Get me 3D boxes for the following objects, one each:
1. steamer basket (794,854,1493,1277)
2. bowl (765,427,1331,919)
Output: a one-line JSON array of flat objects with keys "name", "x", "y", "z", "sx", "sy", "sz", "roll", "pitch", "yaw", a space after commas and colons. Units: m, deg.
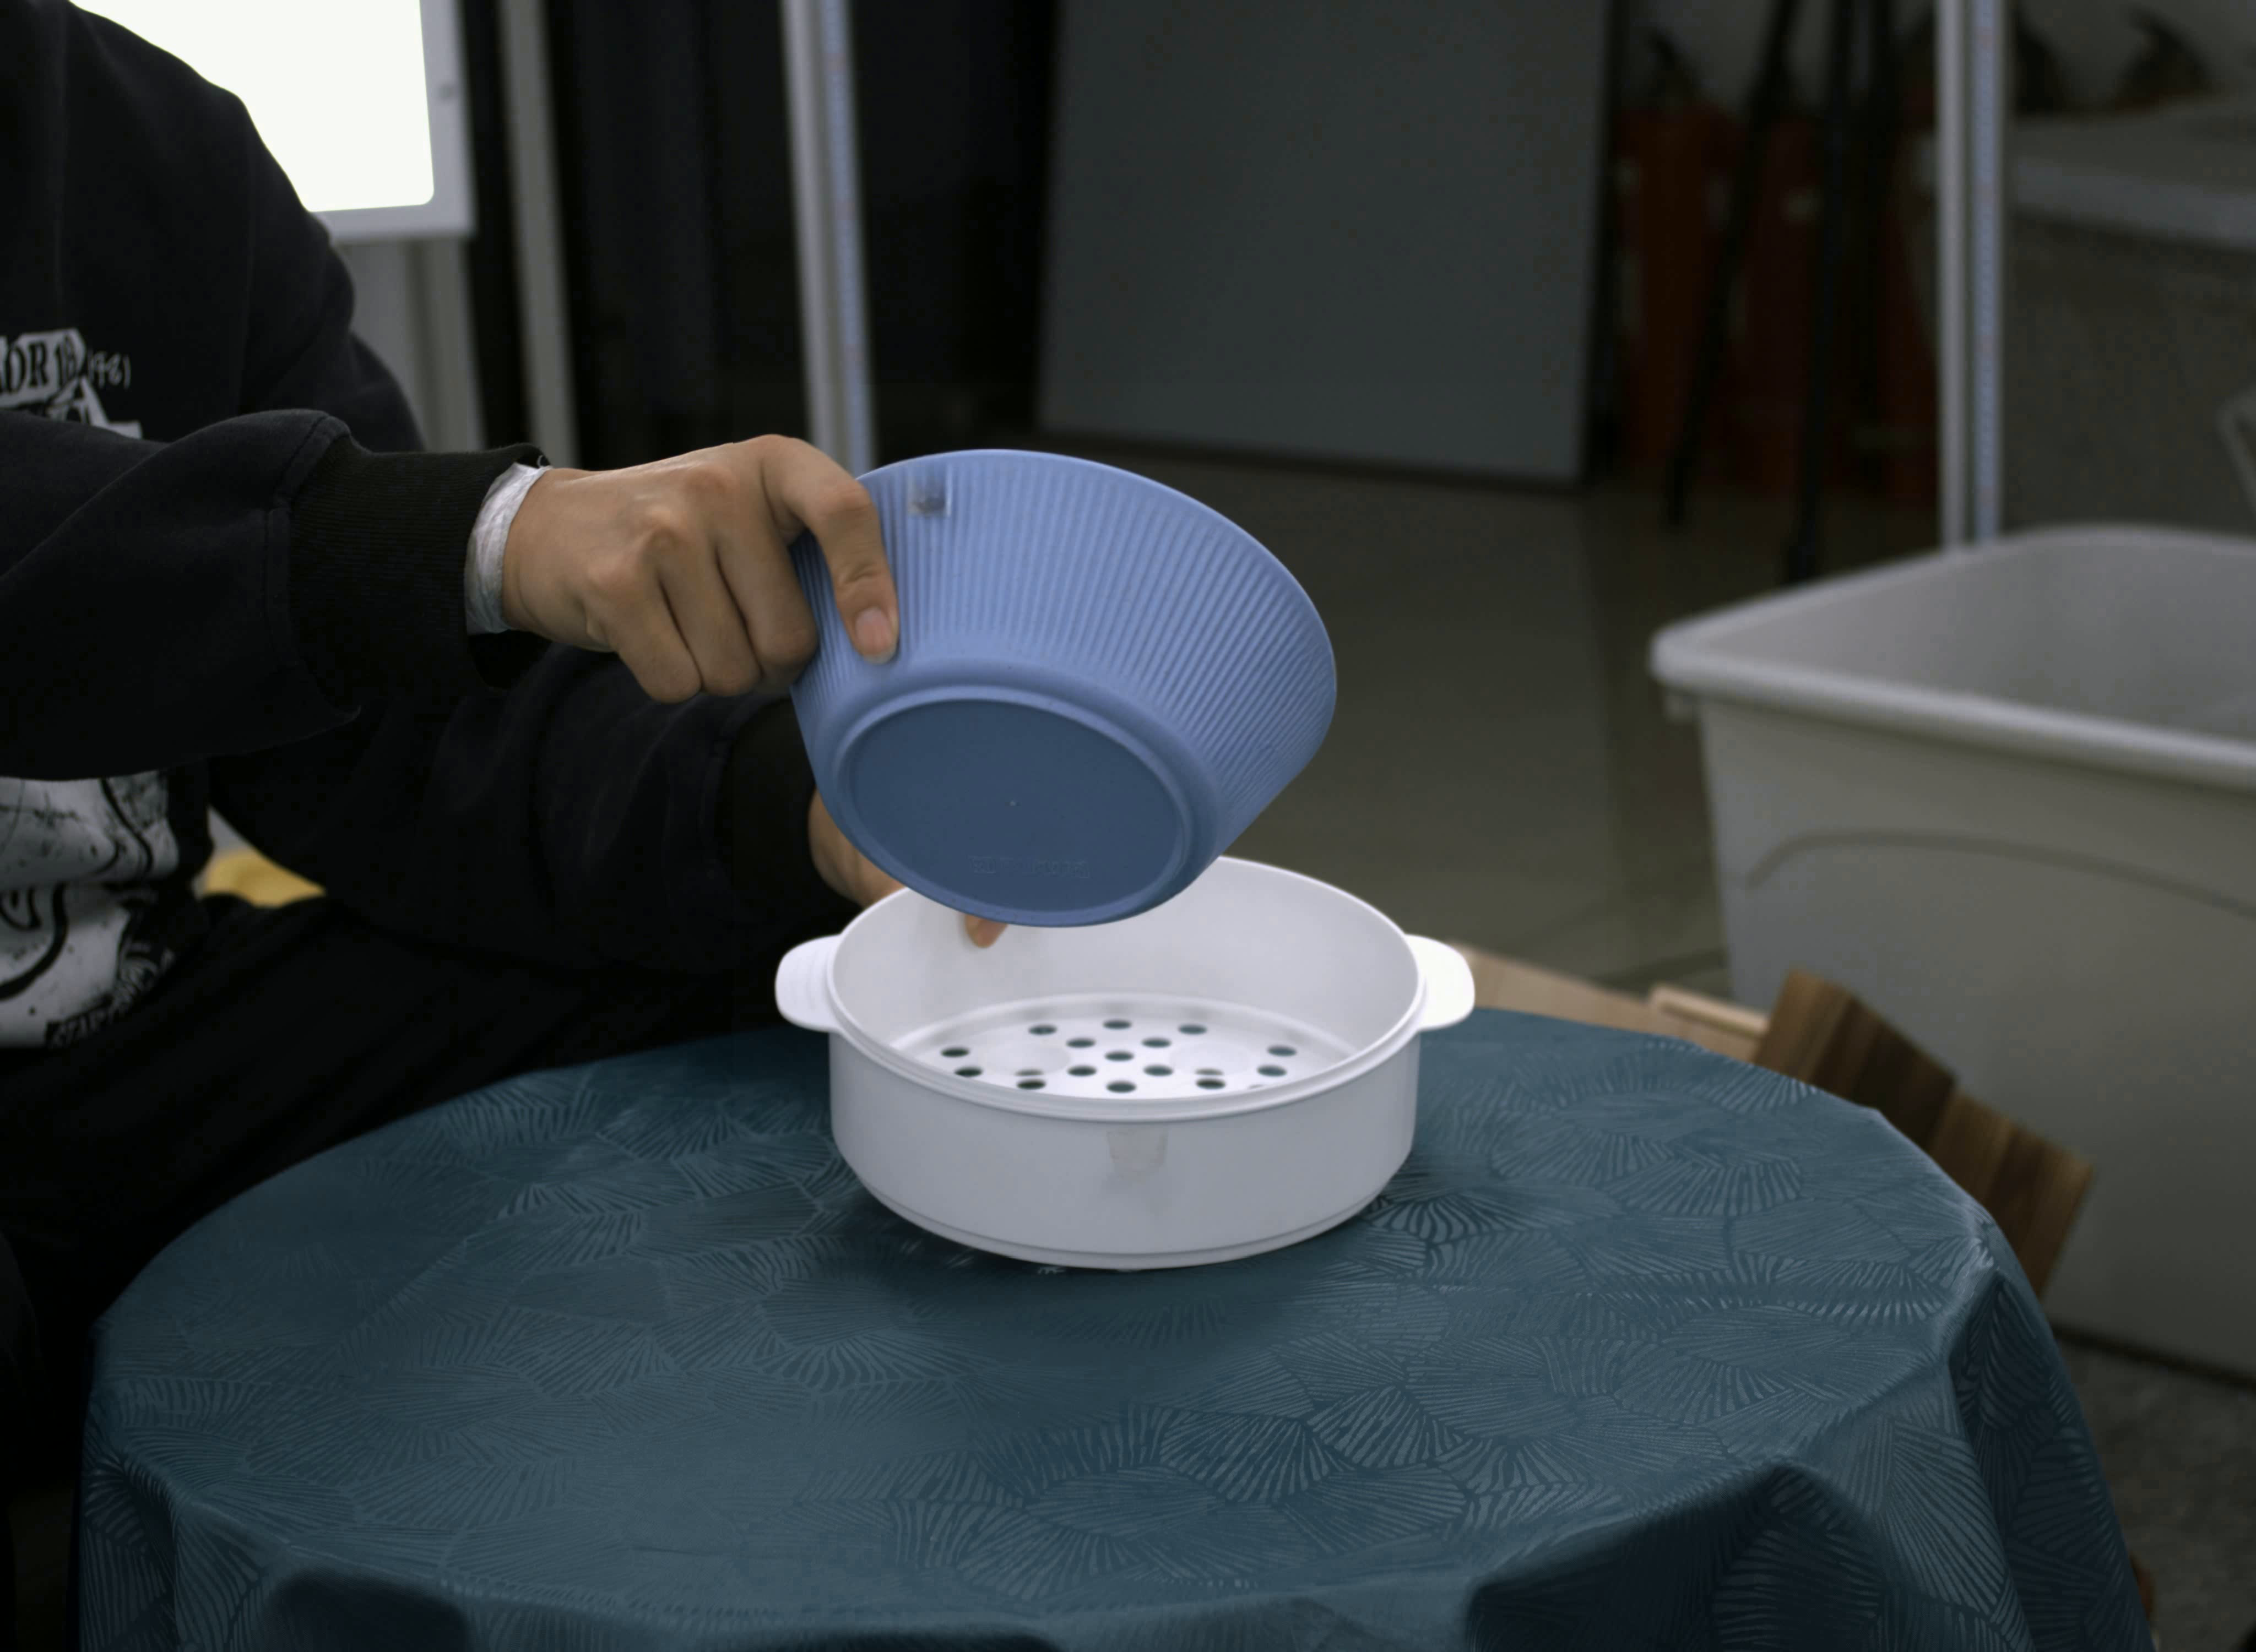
[{"name": "steamer basket", "x": 0.004, "y": 0.077, "z": 1.763, "sx": 0.227, "sy": 0.070, "sz": 0.202, "roll": 1, "pitch": 23, "yaw": -2}, {"name": "bowl", "x": -0.030, "y": -0.033, "z": 1.608, "sx": 0.175, "sy": 0.176, "sz": 0.070, "roll": 1, "pitch": 50, "yaw": 17}]
